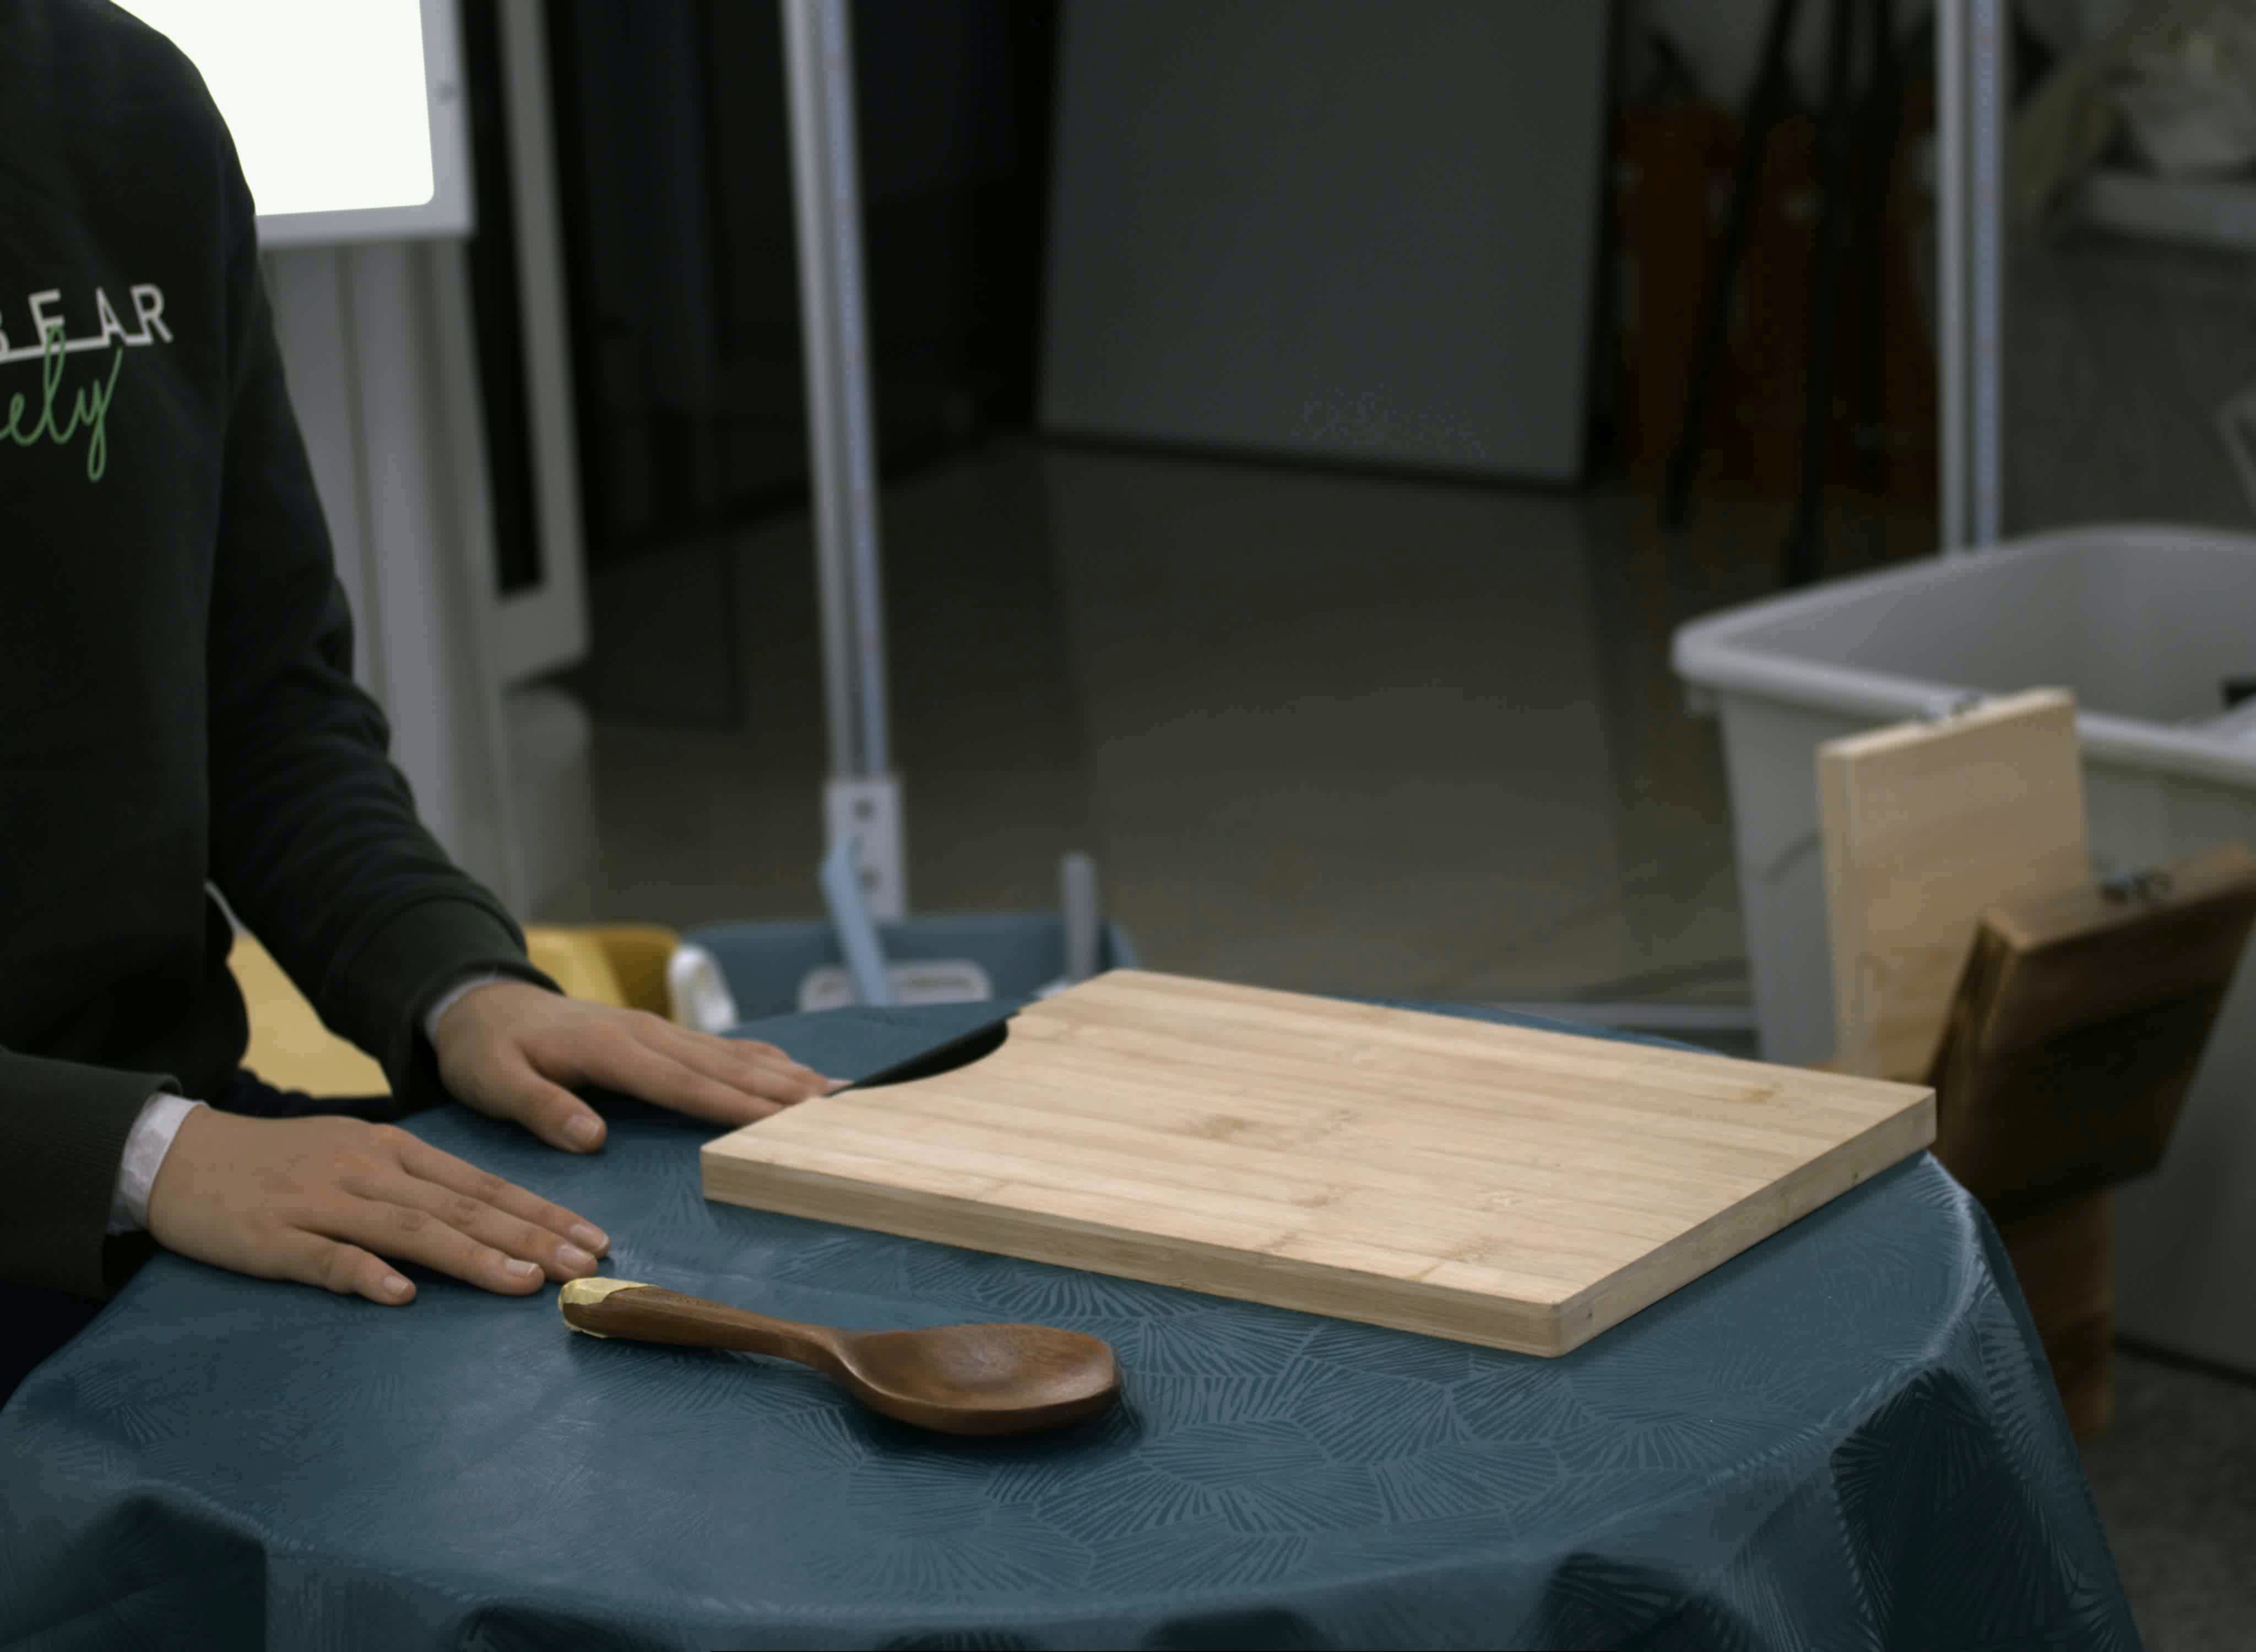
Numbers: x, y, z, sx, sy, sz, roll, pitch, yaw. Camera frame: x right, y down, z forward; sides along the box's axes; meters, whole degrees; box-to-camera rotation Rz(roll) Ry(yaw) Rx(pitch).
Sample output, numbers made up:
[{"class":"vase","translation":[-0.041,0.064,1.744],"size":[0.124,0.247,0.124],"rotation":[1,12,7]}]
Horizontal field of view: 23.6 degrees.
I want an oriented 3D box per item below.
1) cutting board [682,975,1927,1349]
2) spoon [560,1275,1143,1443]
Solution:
[{"class":"cutting board","translation":[0.057,0.106,1.783],"size":[0.351,0.024,0.246],"rotation":[6,17,36]},{"class":"spoon","translation":[-0.087,0.158,1.612],"size":[0.217,0.017,0.074],"rotation":[7,19,38]}]
